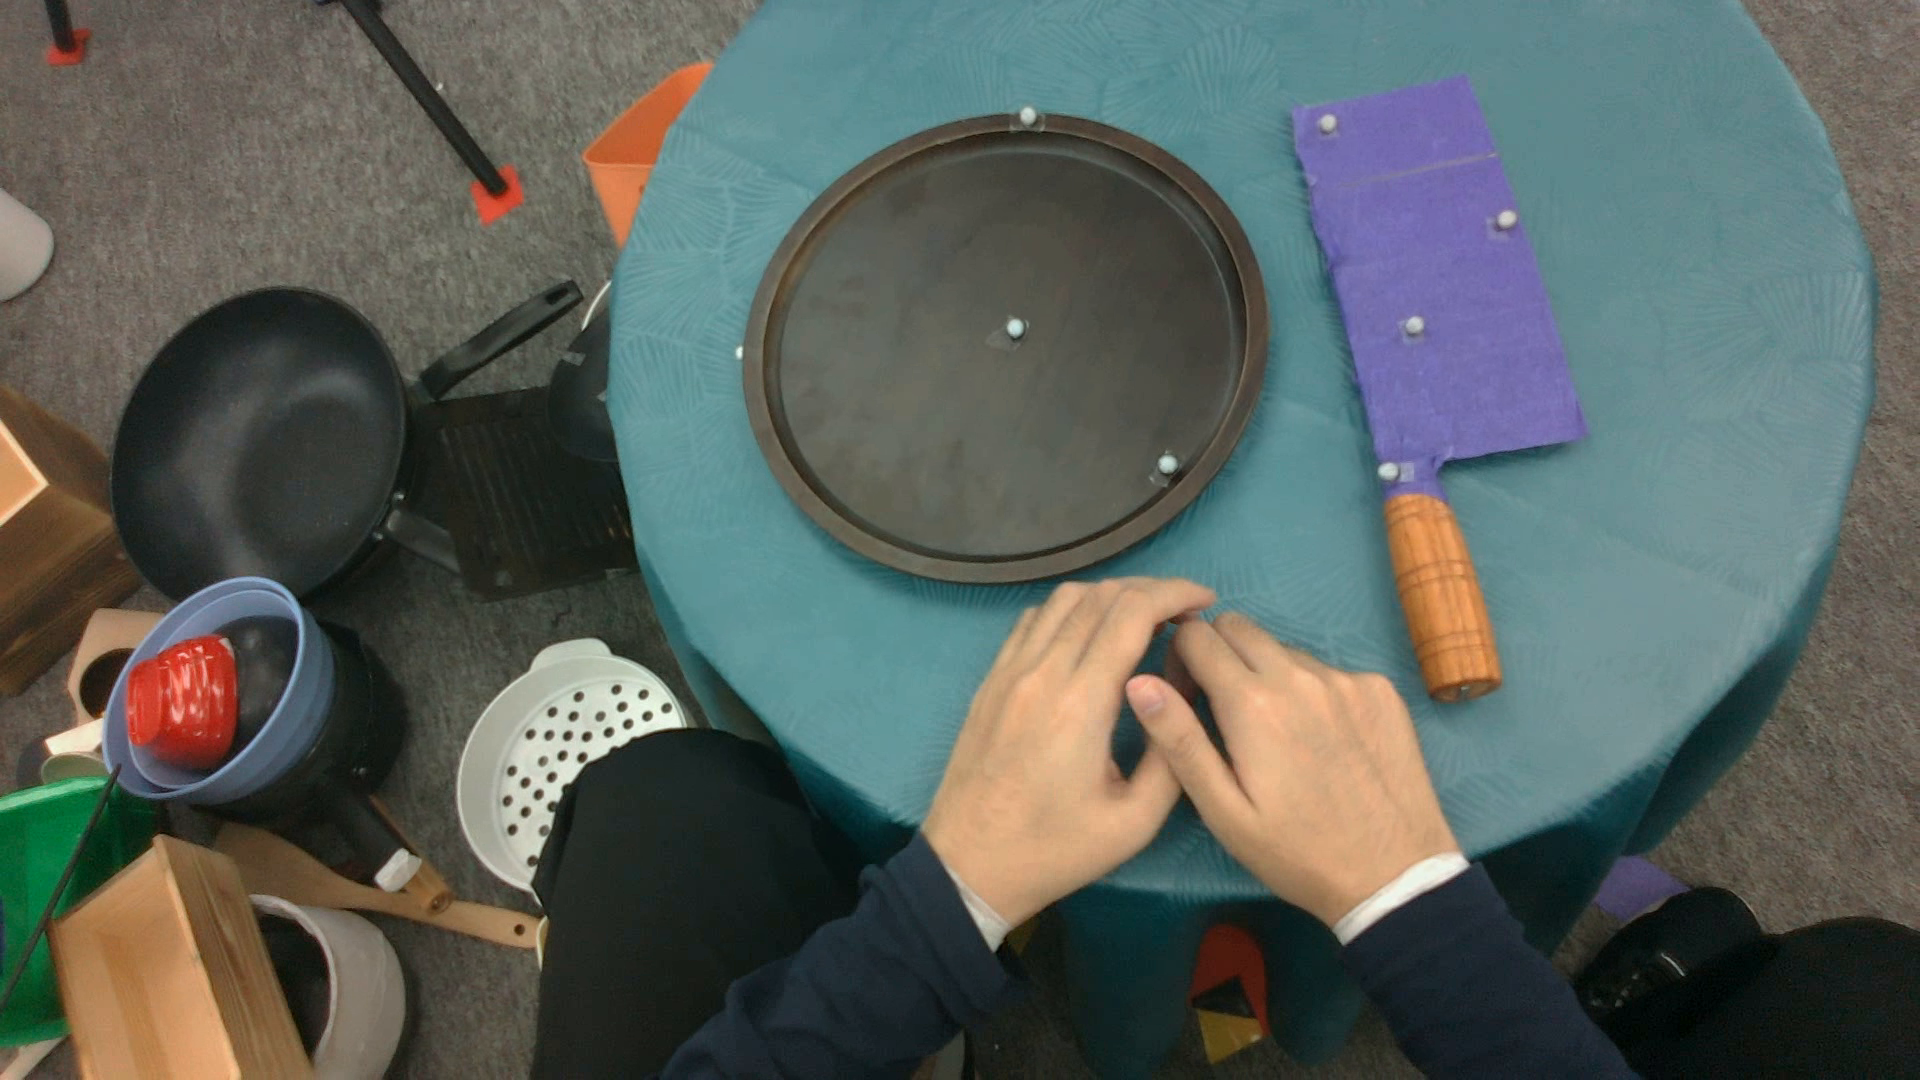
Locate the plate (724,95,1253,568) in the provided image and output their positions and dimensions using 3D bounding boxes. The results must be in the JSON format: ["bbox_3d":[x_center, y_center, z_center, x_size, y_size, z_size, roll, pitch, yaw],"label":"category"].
[{"bbox_3d":[0.012,-0.104,0.662,0.254,0.029,0.255,-3,68,8],"label":"plate"}]

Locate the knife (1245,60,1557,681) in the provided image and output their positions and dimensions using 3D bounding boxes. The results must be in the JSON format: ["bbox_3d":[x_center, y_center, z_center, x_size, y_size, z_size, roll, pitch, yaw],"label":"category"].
[{"bbox_3d":[0.214,-0.094,0.627,0.104,0.032,0.316,-10,67,5],"label":"knife"}]
